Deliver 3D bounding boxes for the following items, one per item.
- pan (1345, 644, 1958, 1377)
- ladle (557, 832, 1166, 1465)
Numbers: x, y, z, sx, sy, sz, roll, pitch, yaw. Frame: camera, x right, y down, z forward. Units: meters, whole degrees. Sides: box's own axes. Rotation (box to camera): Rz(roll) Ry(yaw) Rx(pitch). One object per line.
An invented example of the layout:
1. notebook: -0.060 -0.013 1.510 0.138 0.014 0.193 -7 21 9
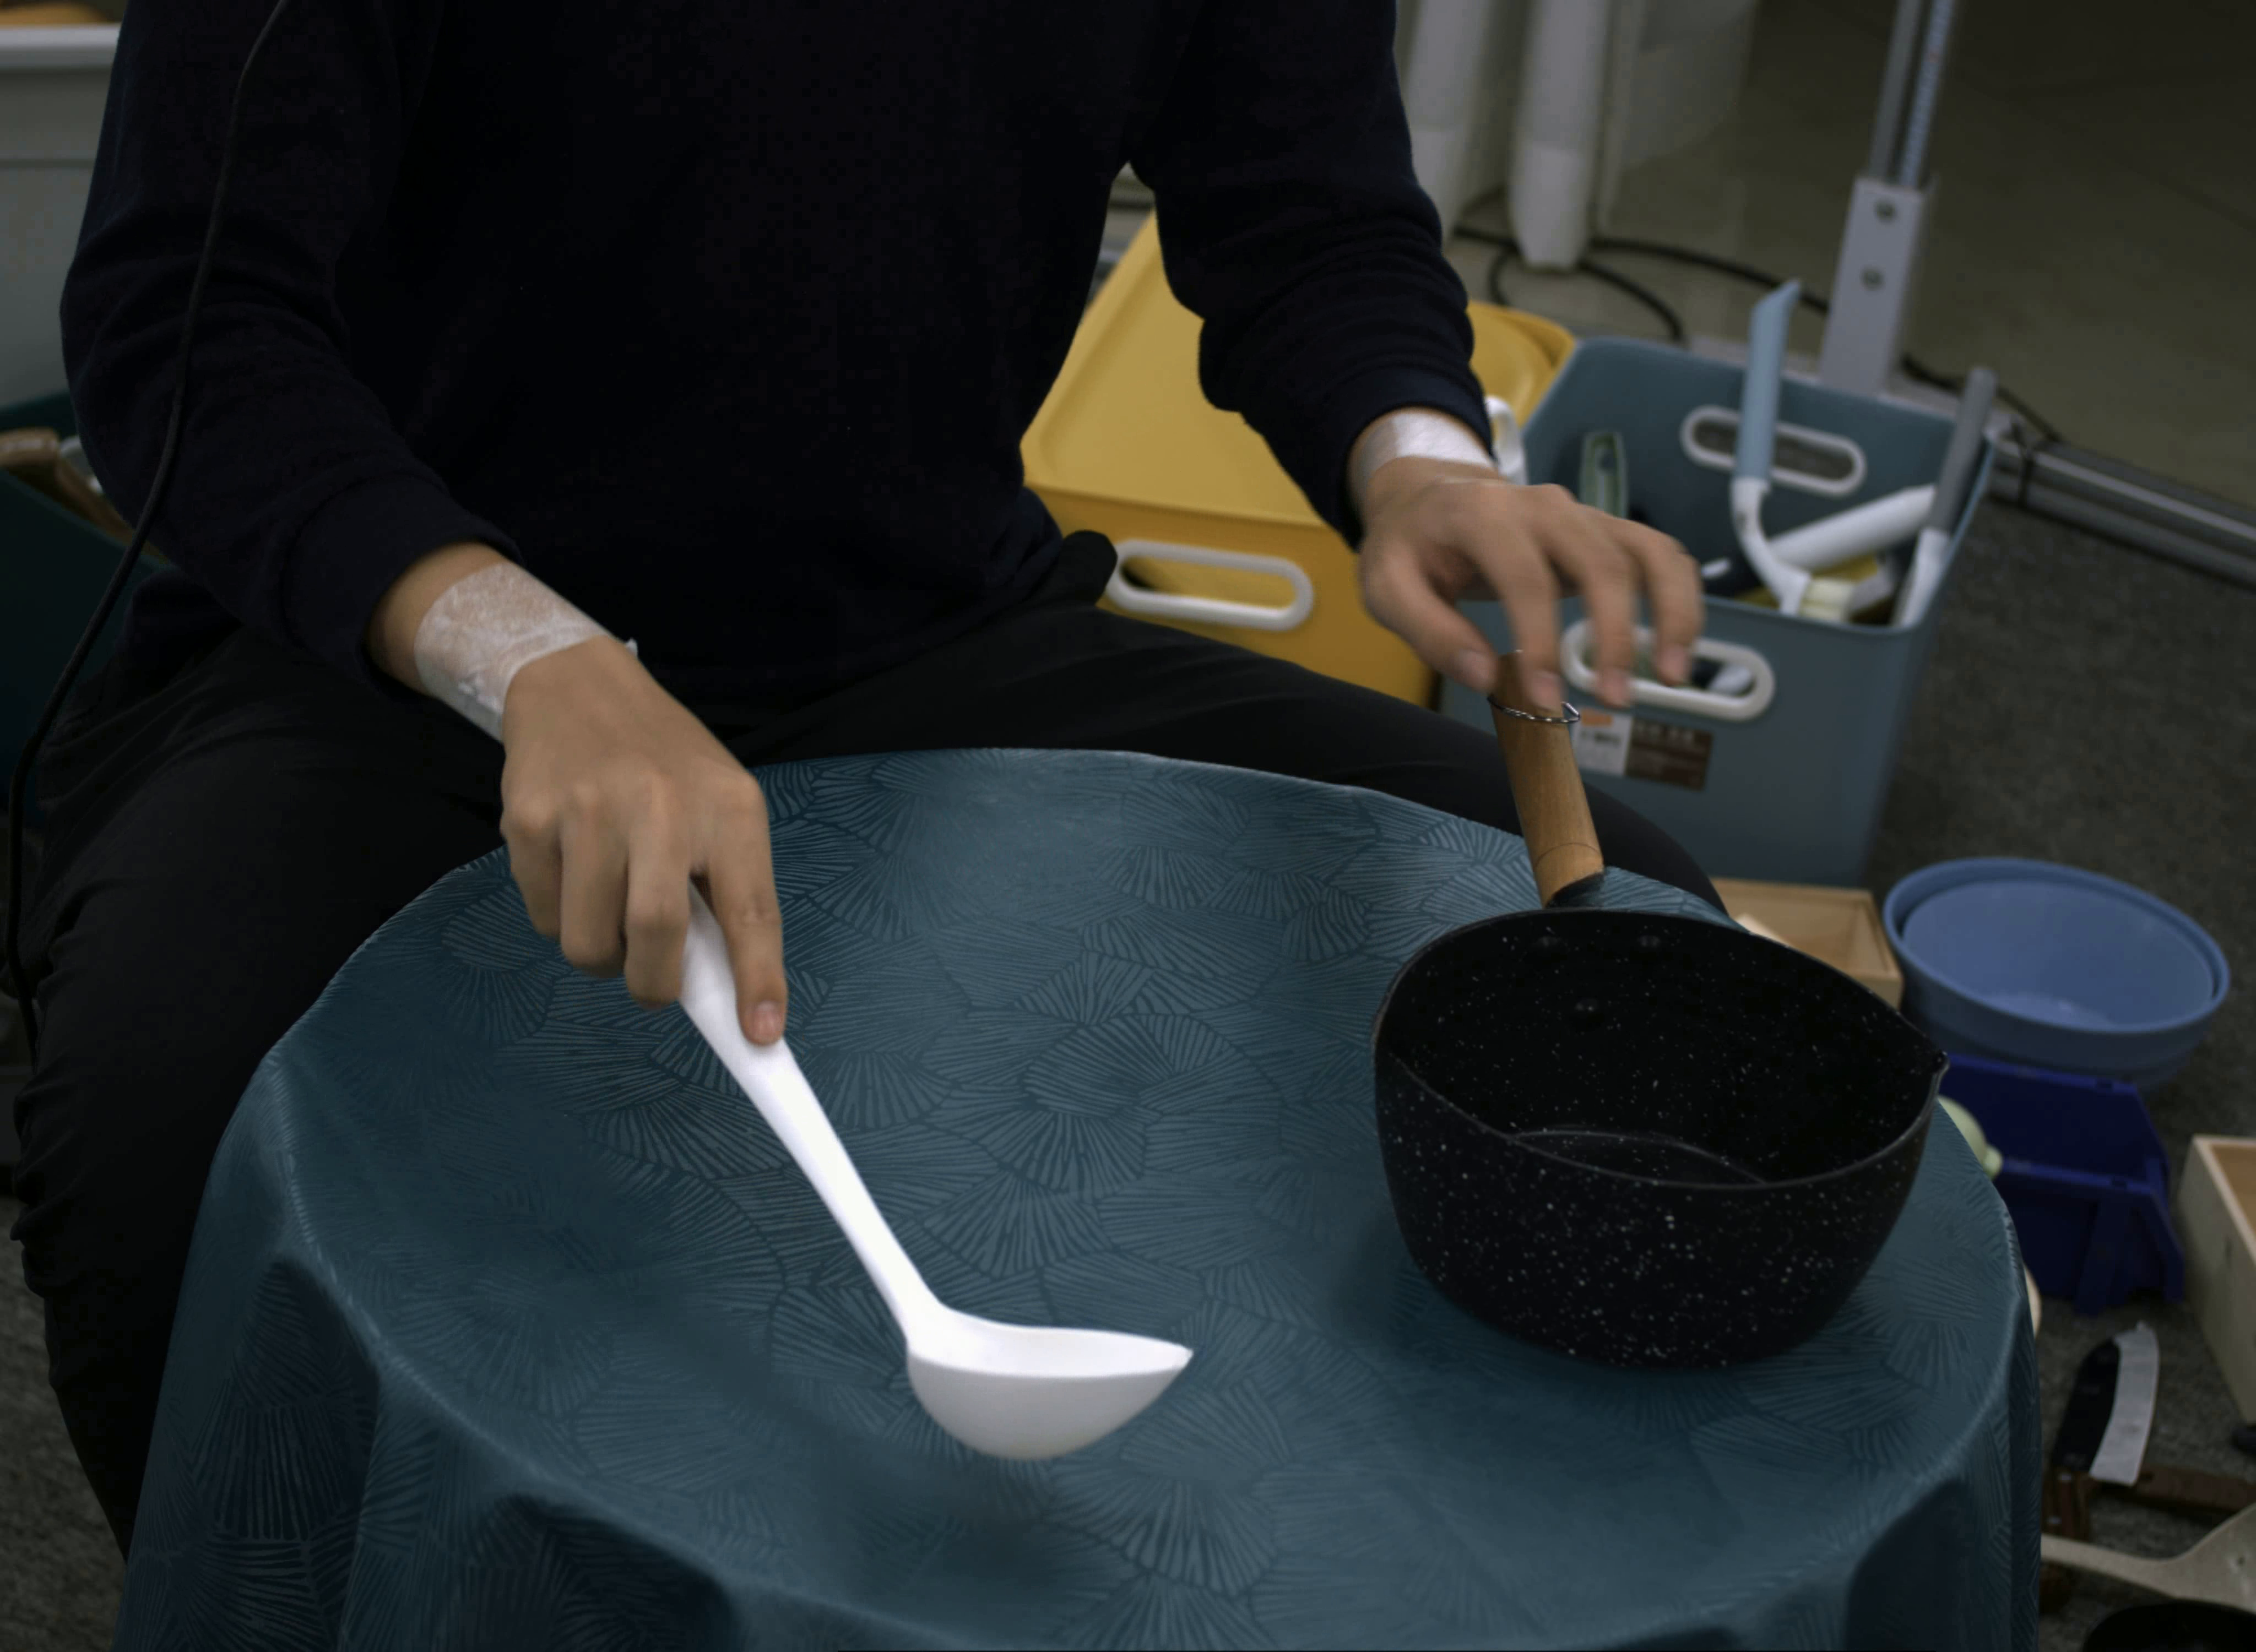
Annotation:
1. pan: 0.161 0.060 1.844 0.206 0.108 0.345 0 29 -10
2. ladle: -0.094 0.091 1.653 0.089 0.070 0.296 -9 45 -35
